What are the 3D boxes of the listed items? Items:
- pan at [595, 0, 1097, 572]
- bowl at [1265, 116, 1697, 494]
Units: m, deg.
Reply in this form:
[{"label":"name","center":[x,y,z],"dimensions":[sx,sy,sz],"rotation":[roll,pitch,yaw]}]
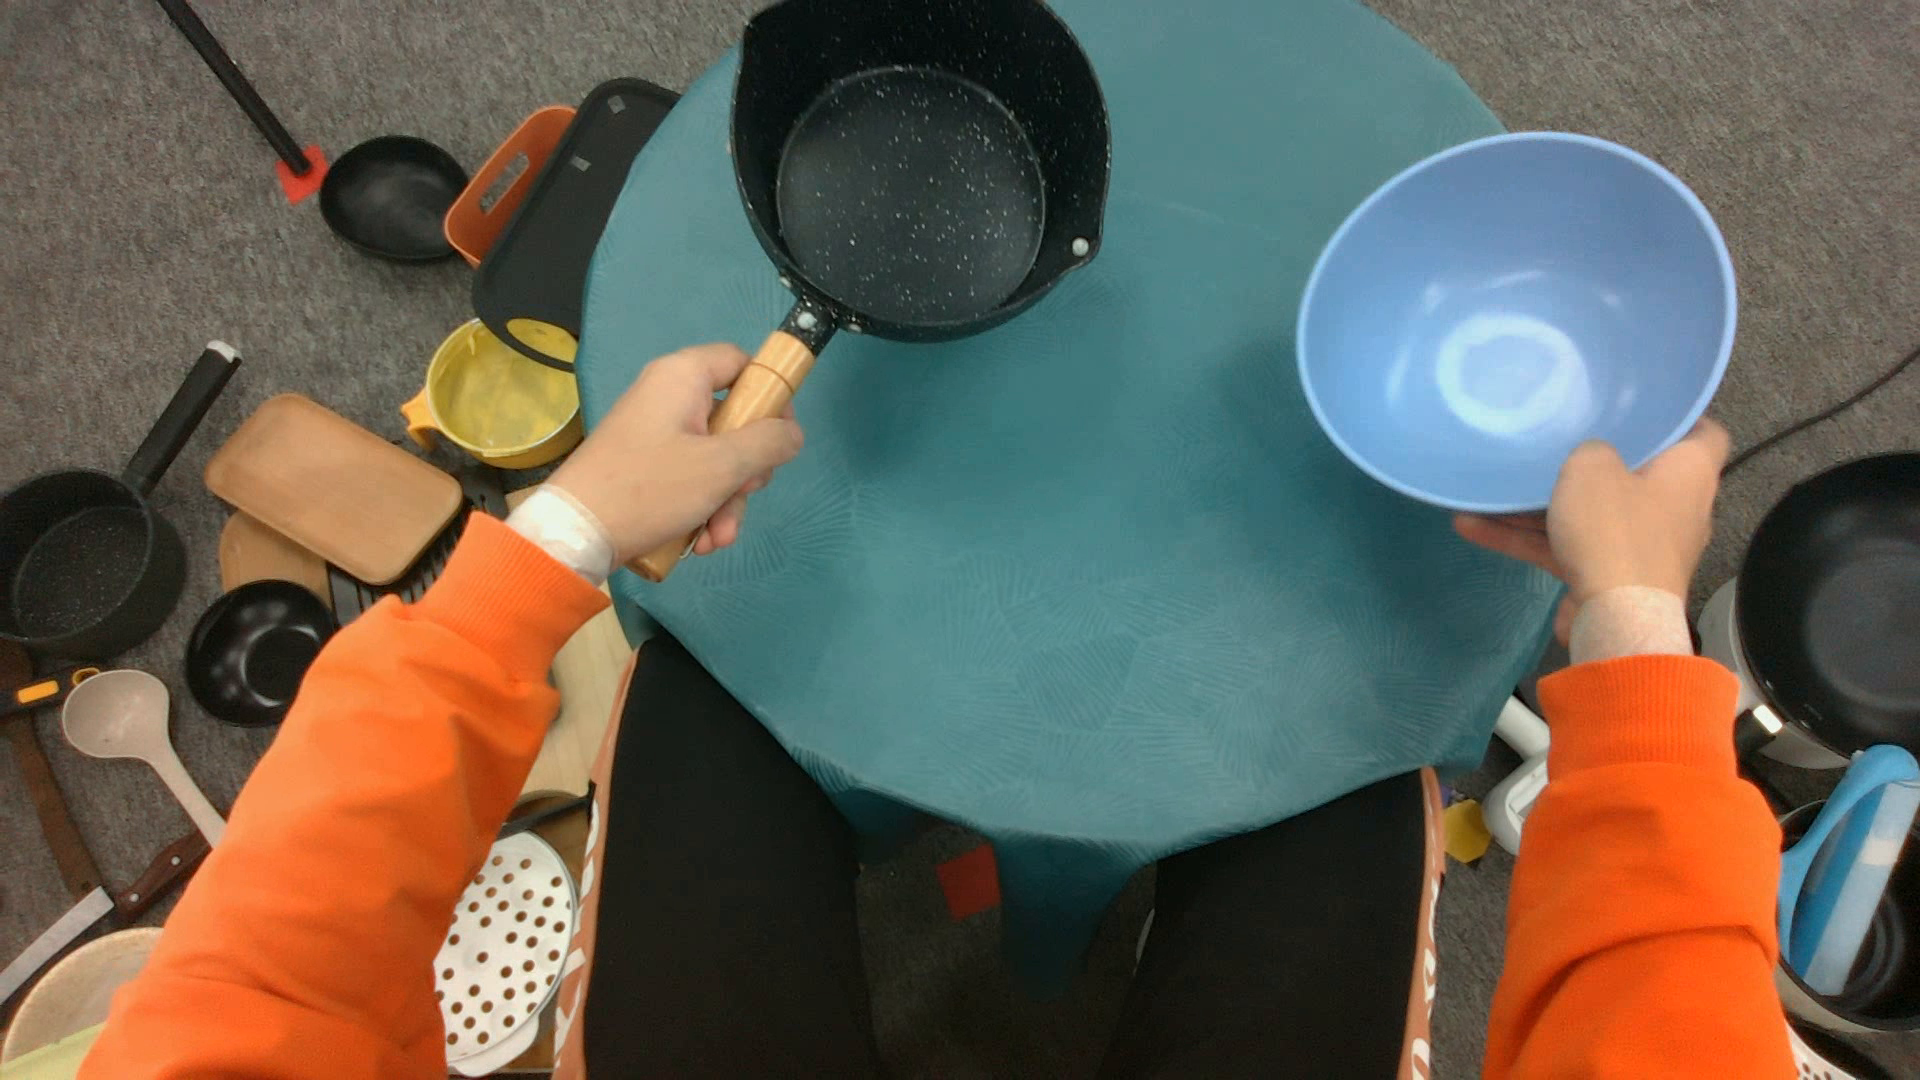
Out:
[{"label":"pan","center":[-0.068,-0.124,0.681],"dimensions":[0.207,0.108,0.343],"rotation":[31,78,-3]},{"label":"bowl","center":[0.258,-0.105,0.705],"dimensions":[0.196,0.095,0.197],"rotation":[-4,72,13]}]
